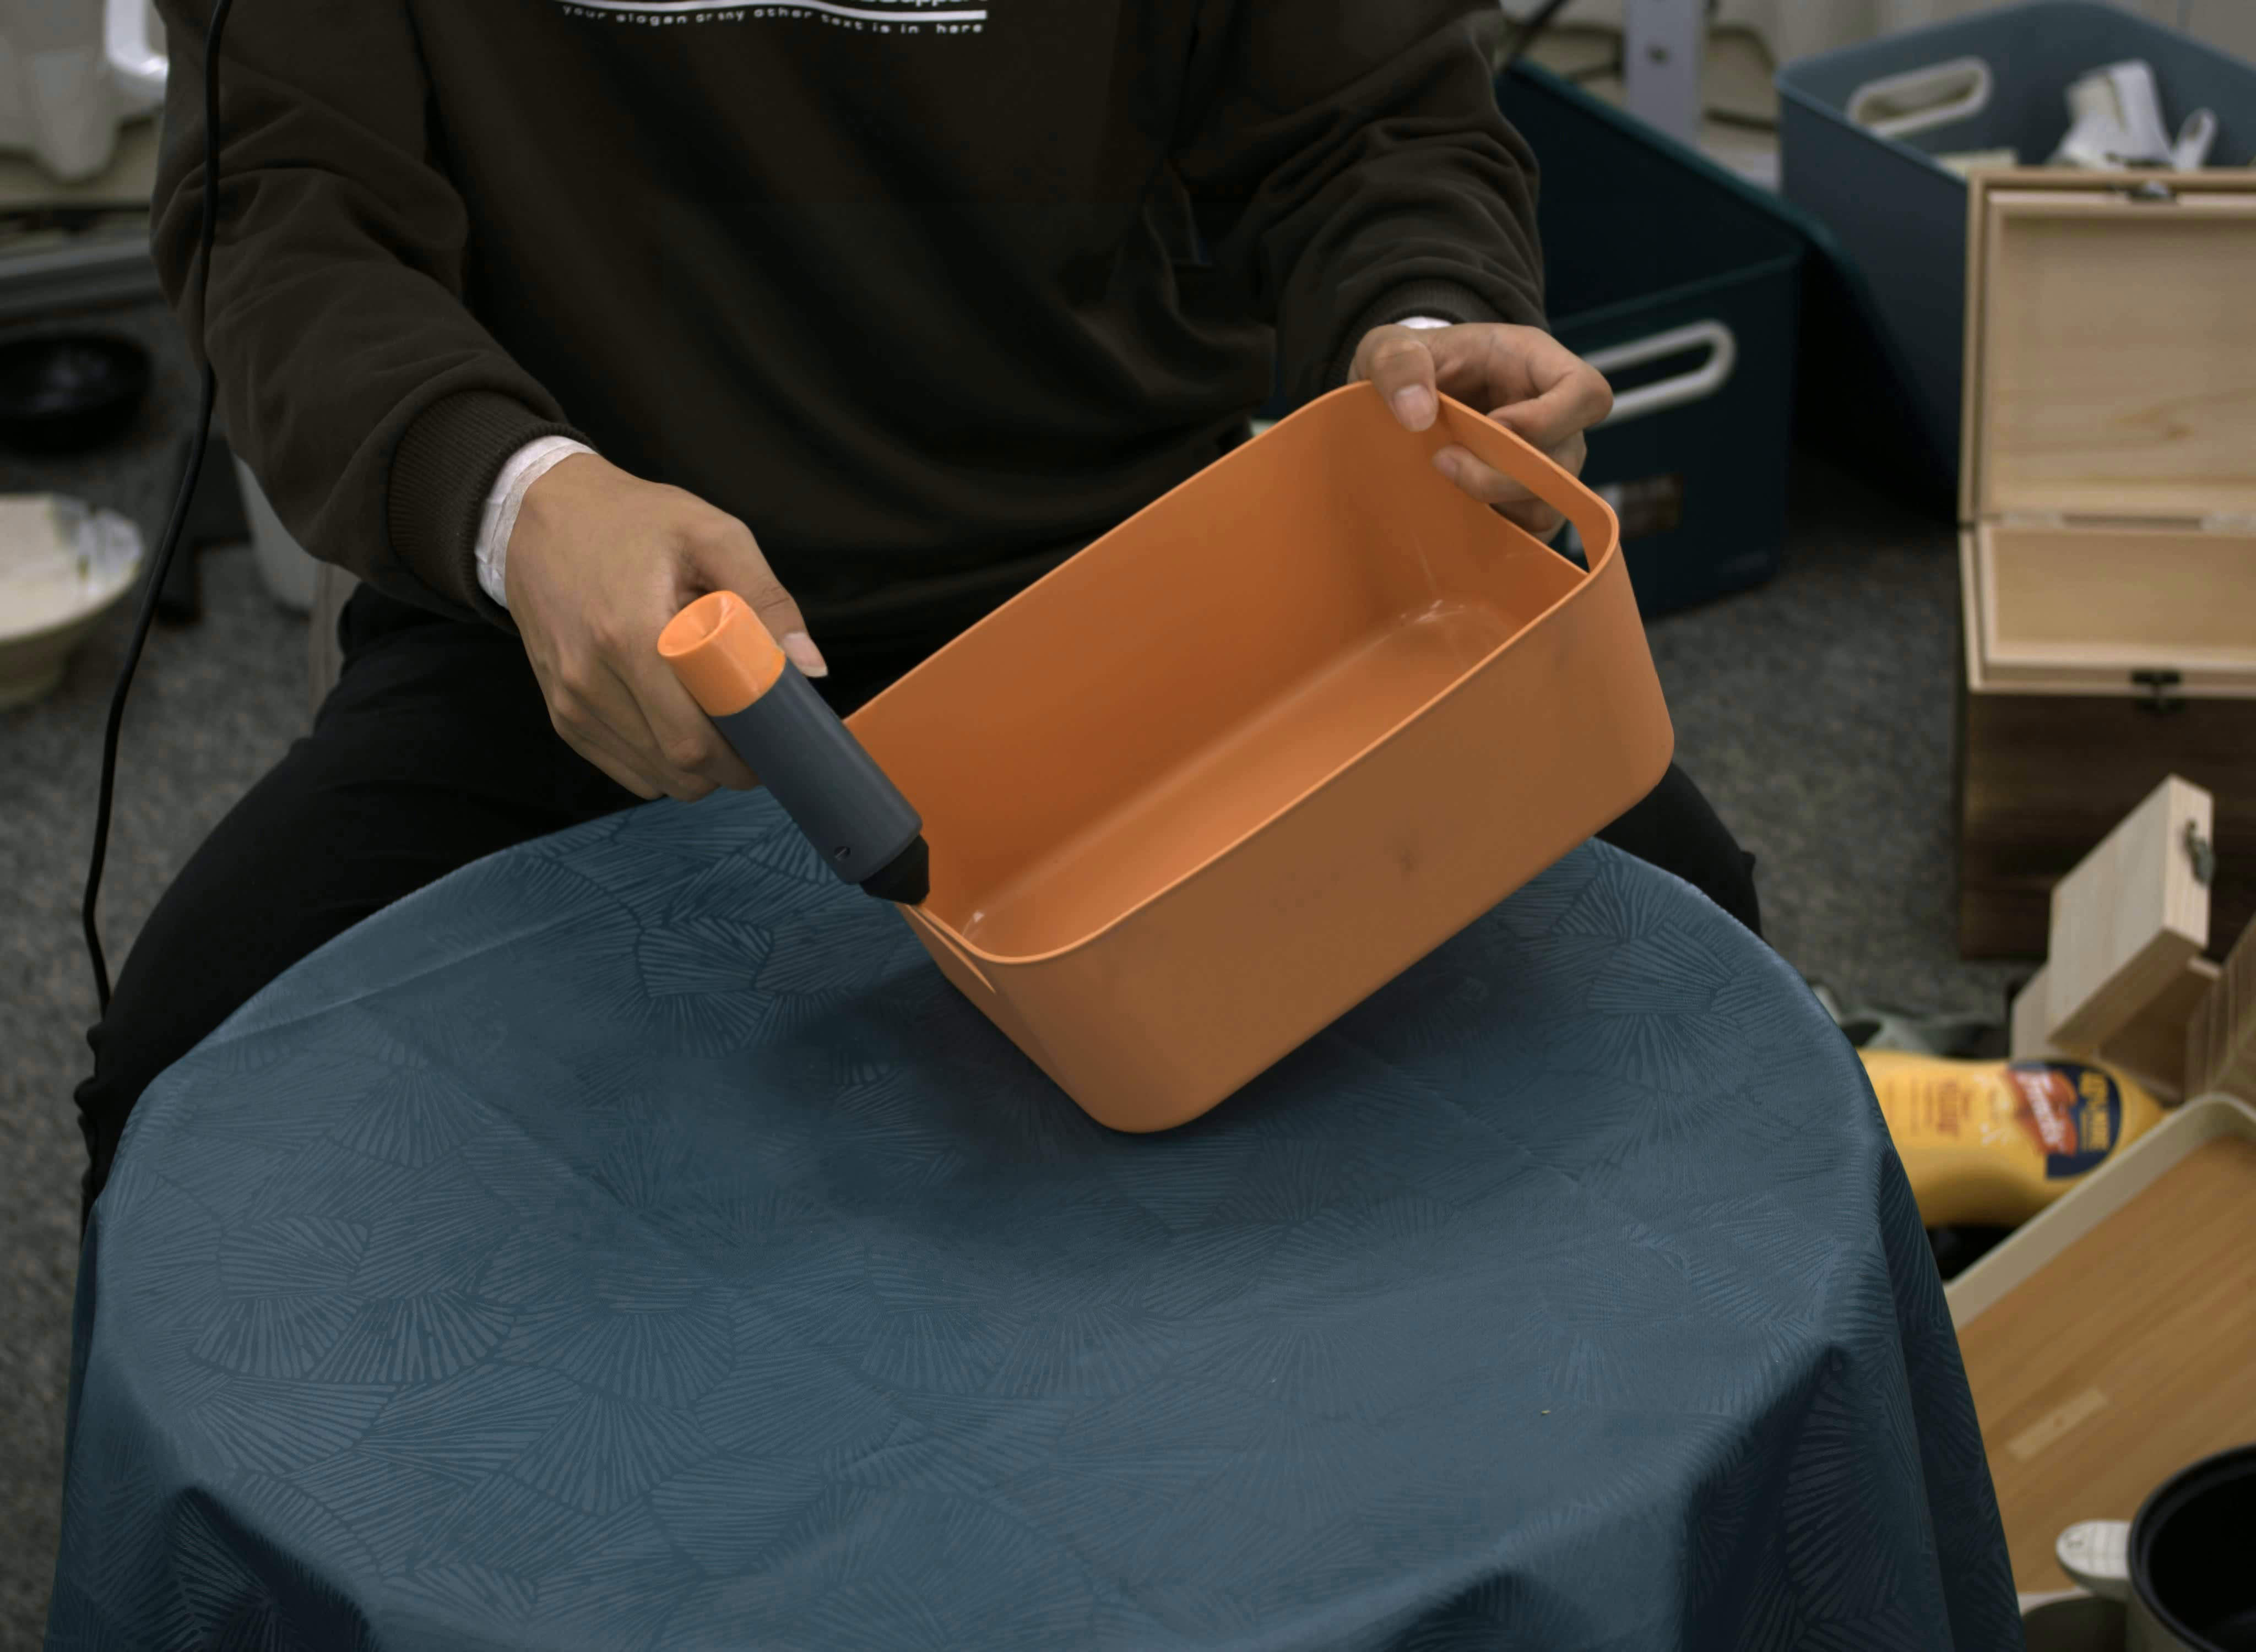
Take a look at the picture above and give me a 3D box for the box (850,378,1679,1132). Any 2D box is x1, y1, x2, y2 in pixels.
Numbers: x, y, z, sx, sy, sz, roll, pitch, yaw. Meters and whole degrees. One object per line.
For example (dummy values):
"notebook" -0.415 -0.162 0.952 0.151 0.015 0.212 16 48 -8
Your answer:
"box" 0.046 -0.023 1.953 0.275 0.101 0.200 -35 35 -13

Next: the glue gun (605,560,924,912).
"glue gun" -0.123 -0.033 1.902 0.041 0.117 0.140 -38 28 -8
